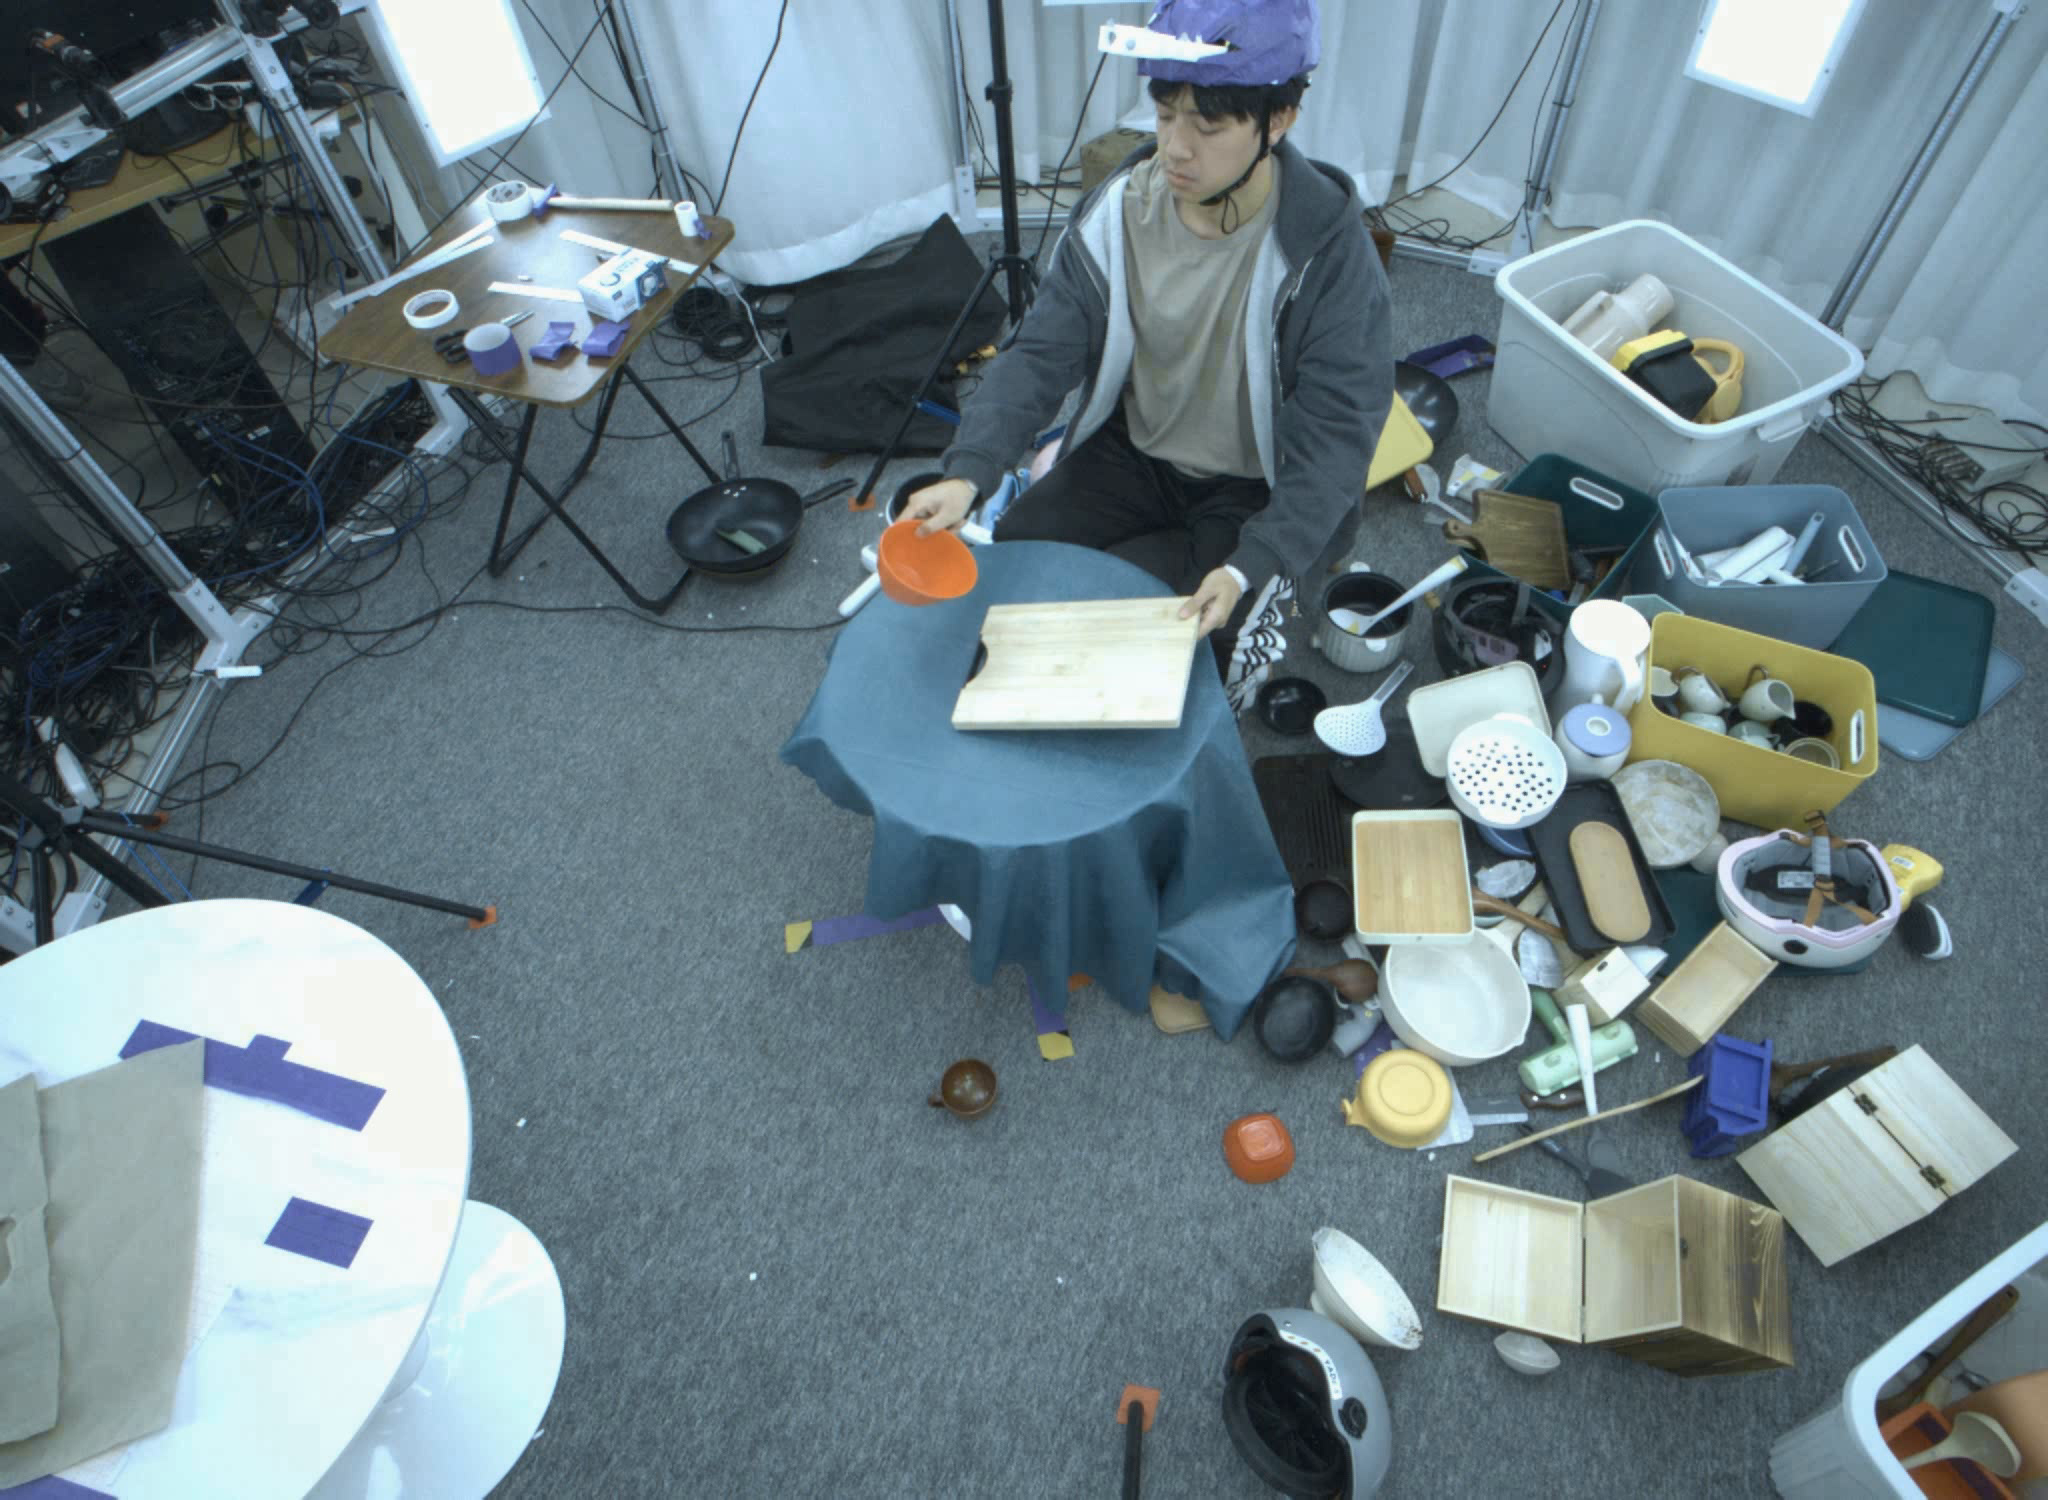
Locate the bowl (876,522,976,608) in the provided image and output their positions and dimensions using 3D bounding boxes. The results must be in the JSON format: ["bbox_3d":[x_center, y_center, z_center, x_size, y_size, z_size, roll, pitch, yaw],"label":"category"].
[{"bbox_3d":[-0.156,-0.253,1.775,0.151,0.103,0.147,14,61,-25],"label":"bowl"}]

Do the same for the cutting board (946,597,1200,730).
[{"bbox_3d":[0.074,-0.129,1.820,0.344,0.024,0.249,0,52,19],"label":"cutting board"}]
